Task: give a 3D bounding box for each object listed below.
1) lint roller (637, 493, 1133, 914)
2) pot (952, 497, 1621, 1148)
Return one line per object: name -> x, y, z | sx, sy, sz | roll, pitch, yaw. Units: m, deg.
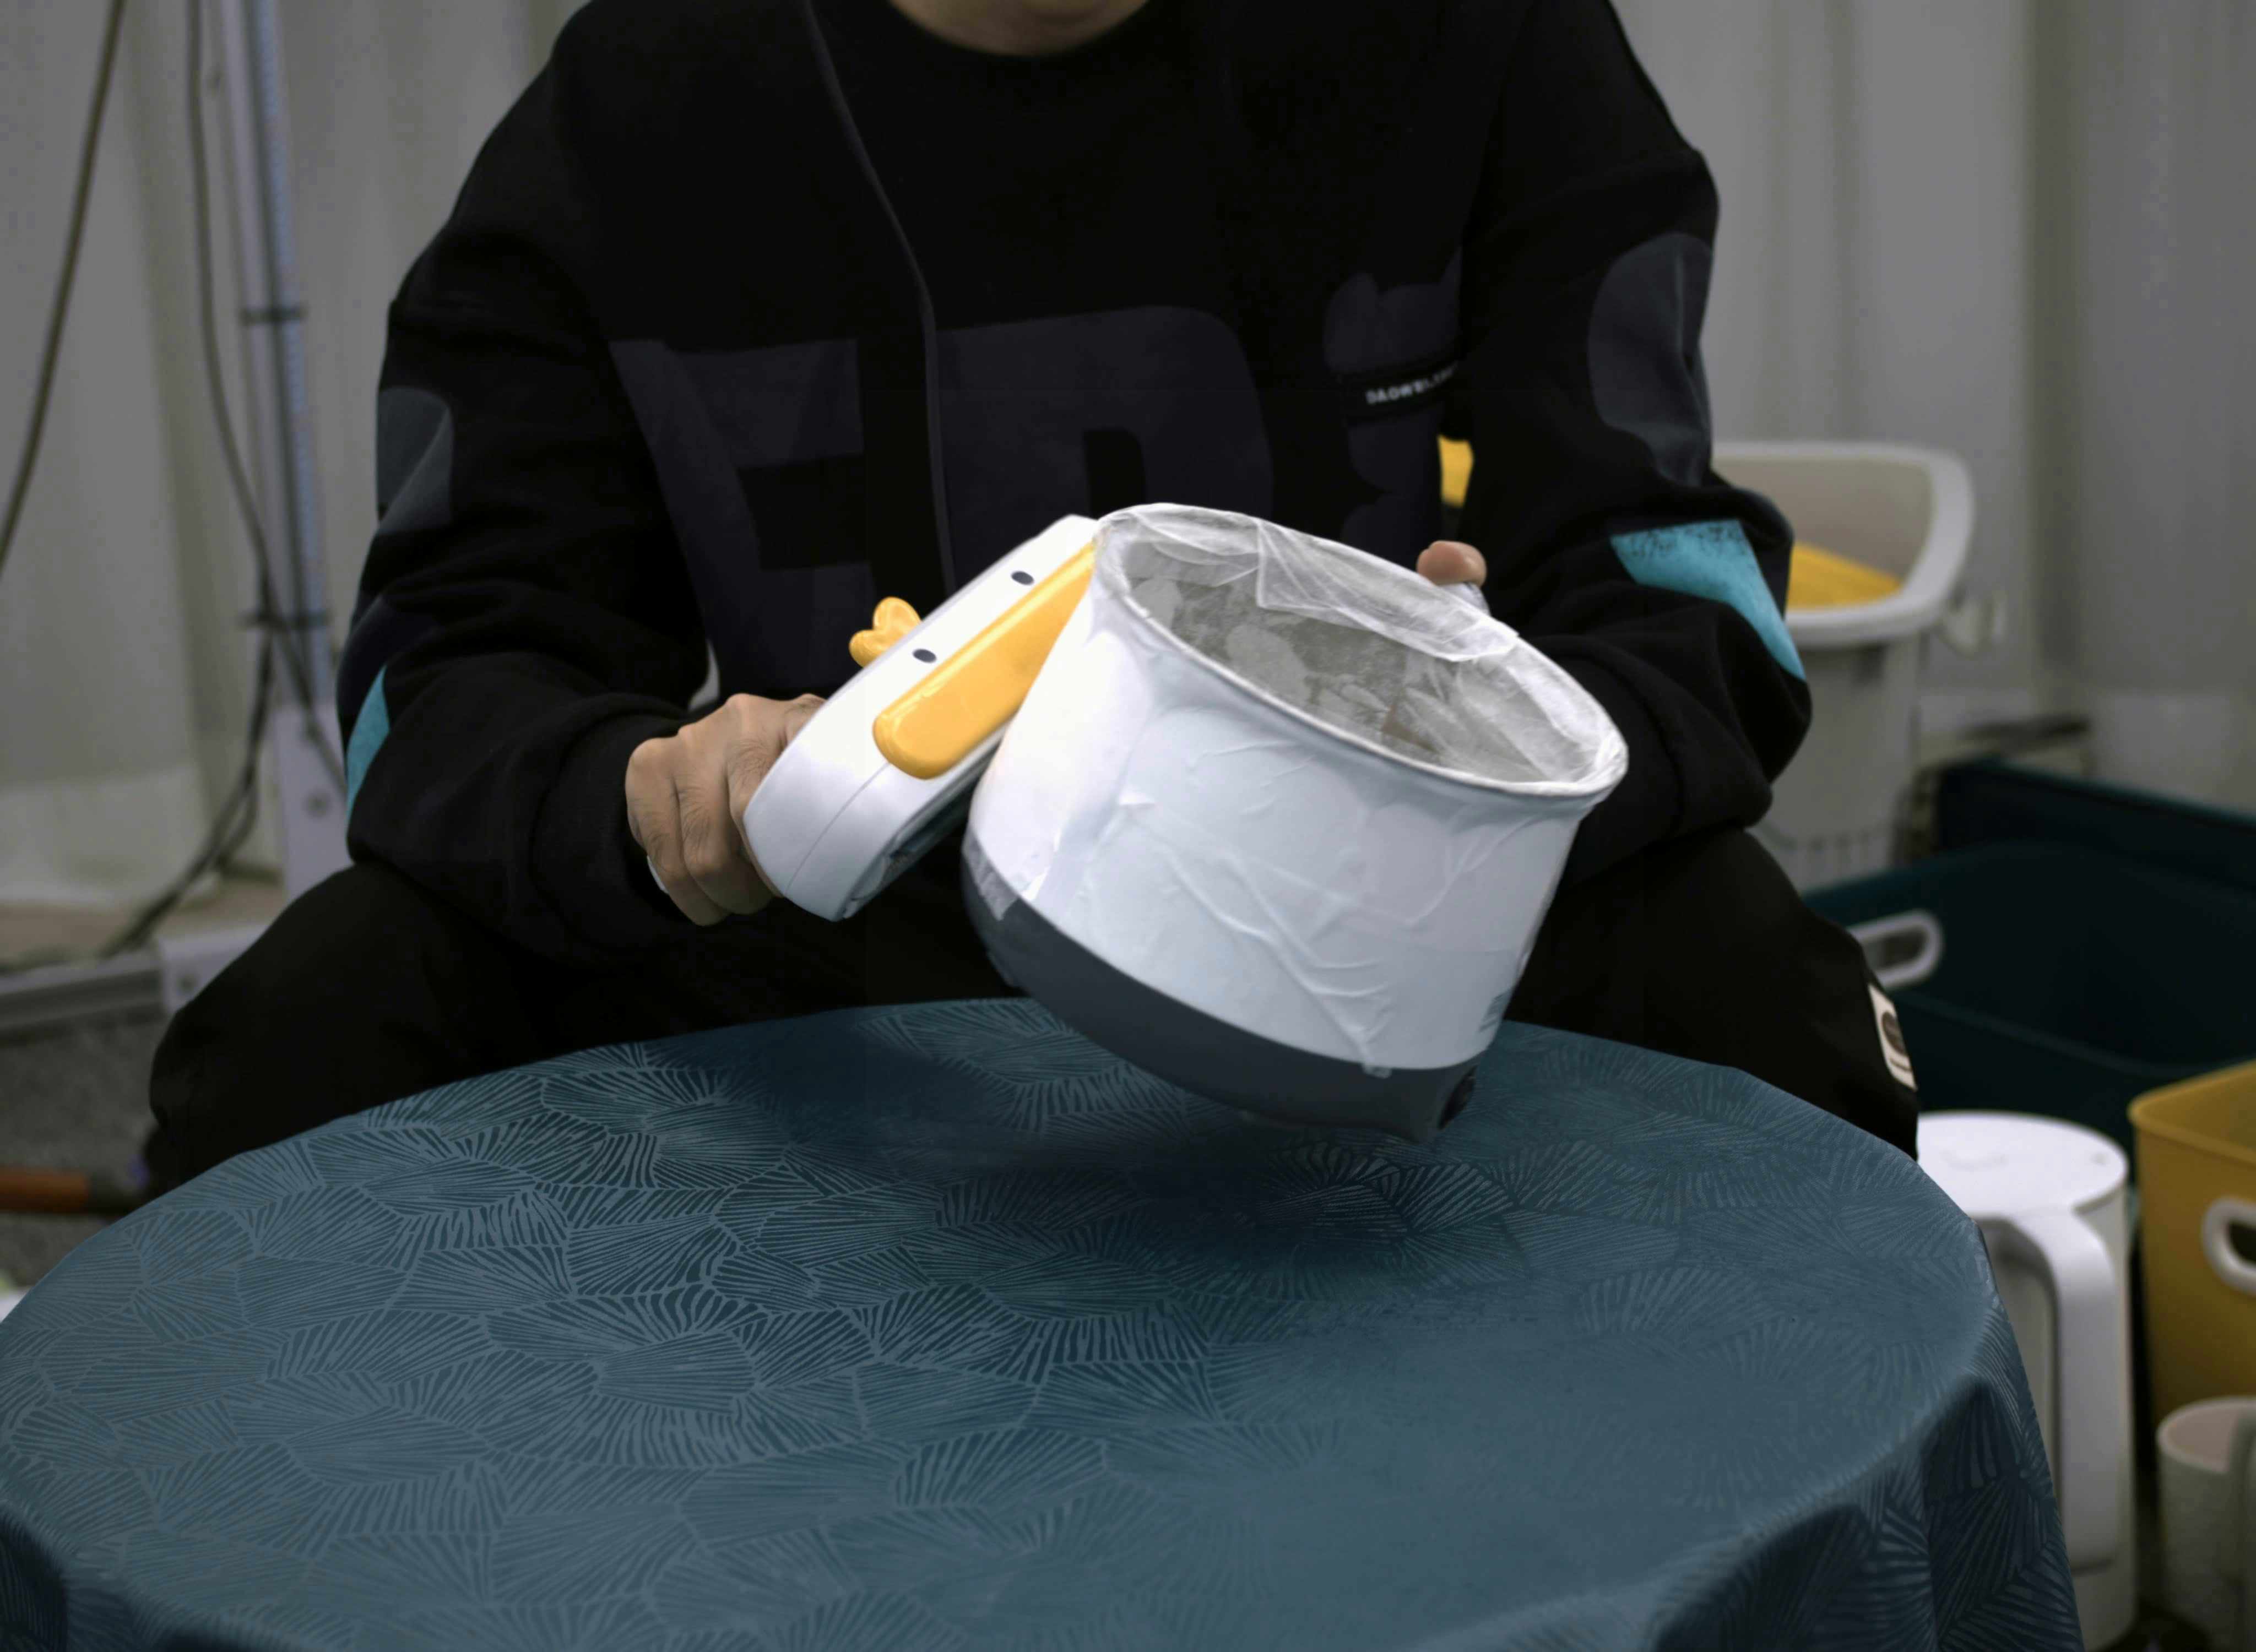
lint roller -> -0.088, -0.017, 1.779 | 0.191, 0.074, 0.194 | -42, 4, 39
pot -> 0.053, -0.007, 1.699 | 0.179, 0.136, 0.234 | 30, 22, 12
